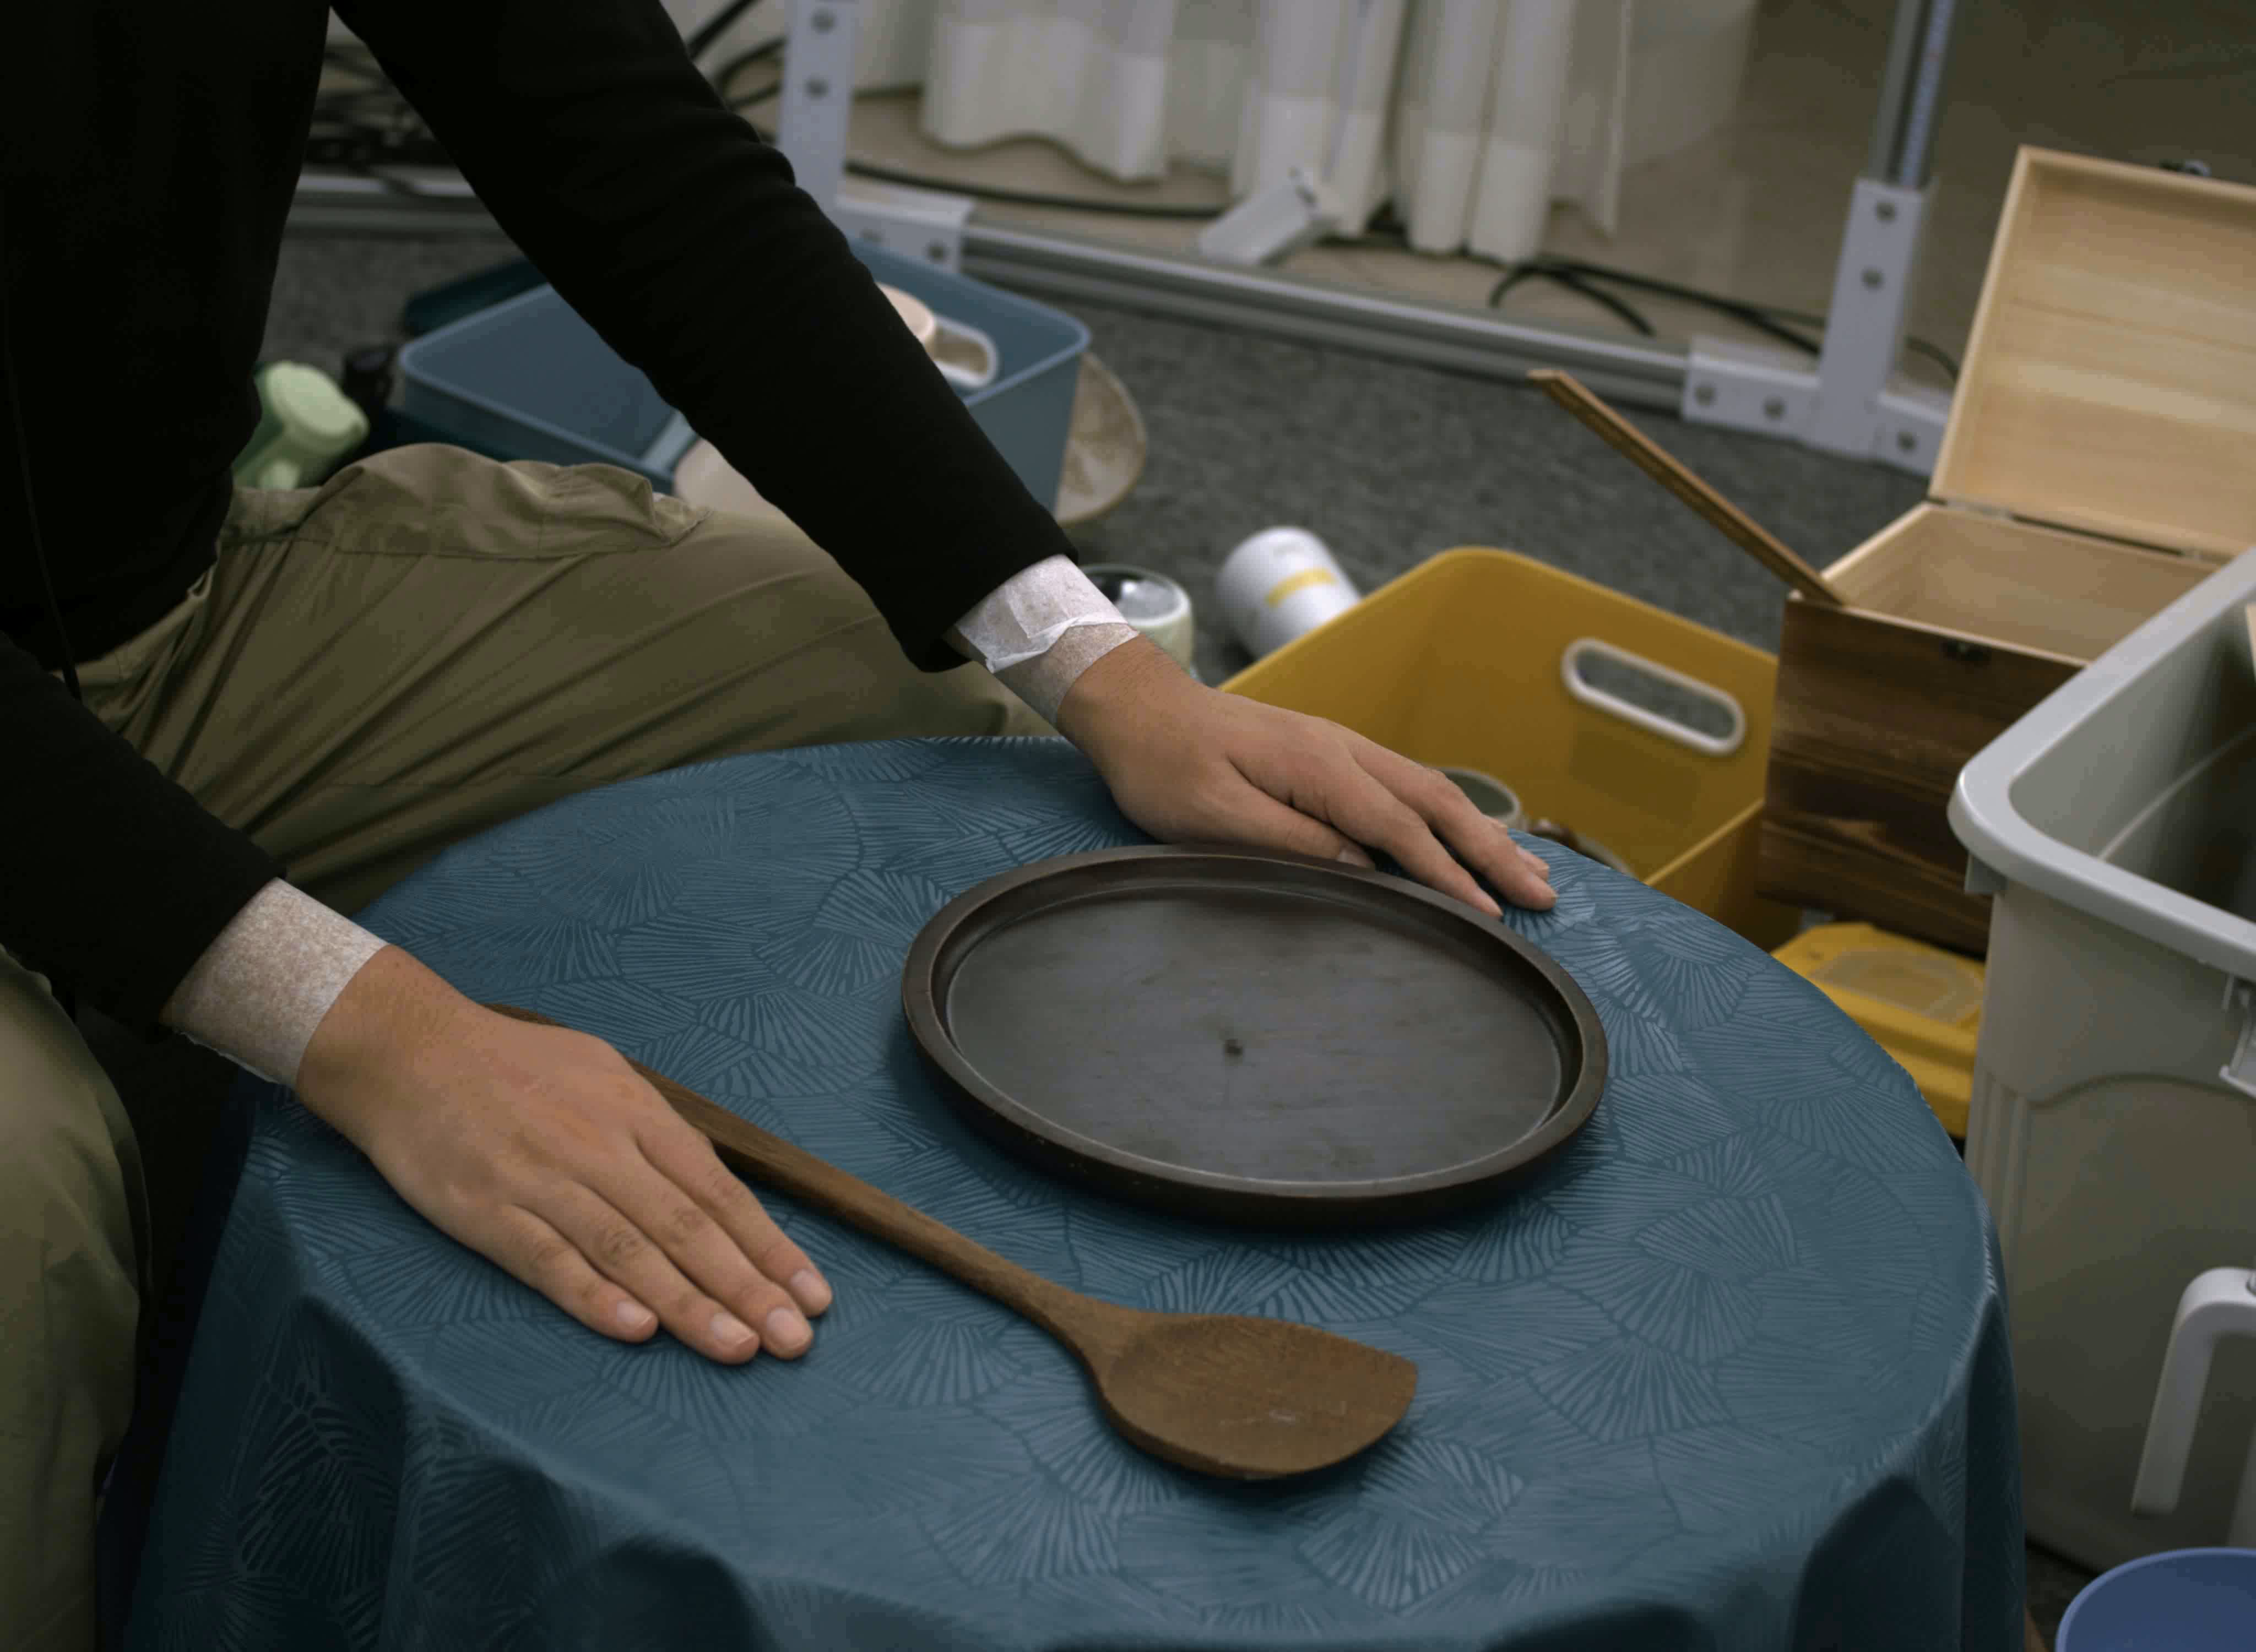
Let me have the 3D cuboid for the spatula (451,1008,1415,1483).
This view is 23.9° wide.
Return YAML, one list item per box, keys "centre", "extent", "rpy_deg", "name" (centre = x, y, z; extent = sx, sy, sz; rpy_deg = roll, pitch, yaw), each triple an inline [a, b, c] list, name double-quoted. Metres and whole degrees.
- centre: [-0.079, 0.130, 1.755]
  extent: [0.388, 0.016, 0.096]
  rpy_deg: [23, 31, 30]
  name: "spatula"

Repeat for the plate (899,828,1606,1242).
- centre: [0.043, 0.074, 1.884]
  extent: [0.254, 0.029, 0.256]
  rpy_deg: [5, 28, -3]
  name: "plate"
